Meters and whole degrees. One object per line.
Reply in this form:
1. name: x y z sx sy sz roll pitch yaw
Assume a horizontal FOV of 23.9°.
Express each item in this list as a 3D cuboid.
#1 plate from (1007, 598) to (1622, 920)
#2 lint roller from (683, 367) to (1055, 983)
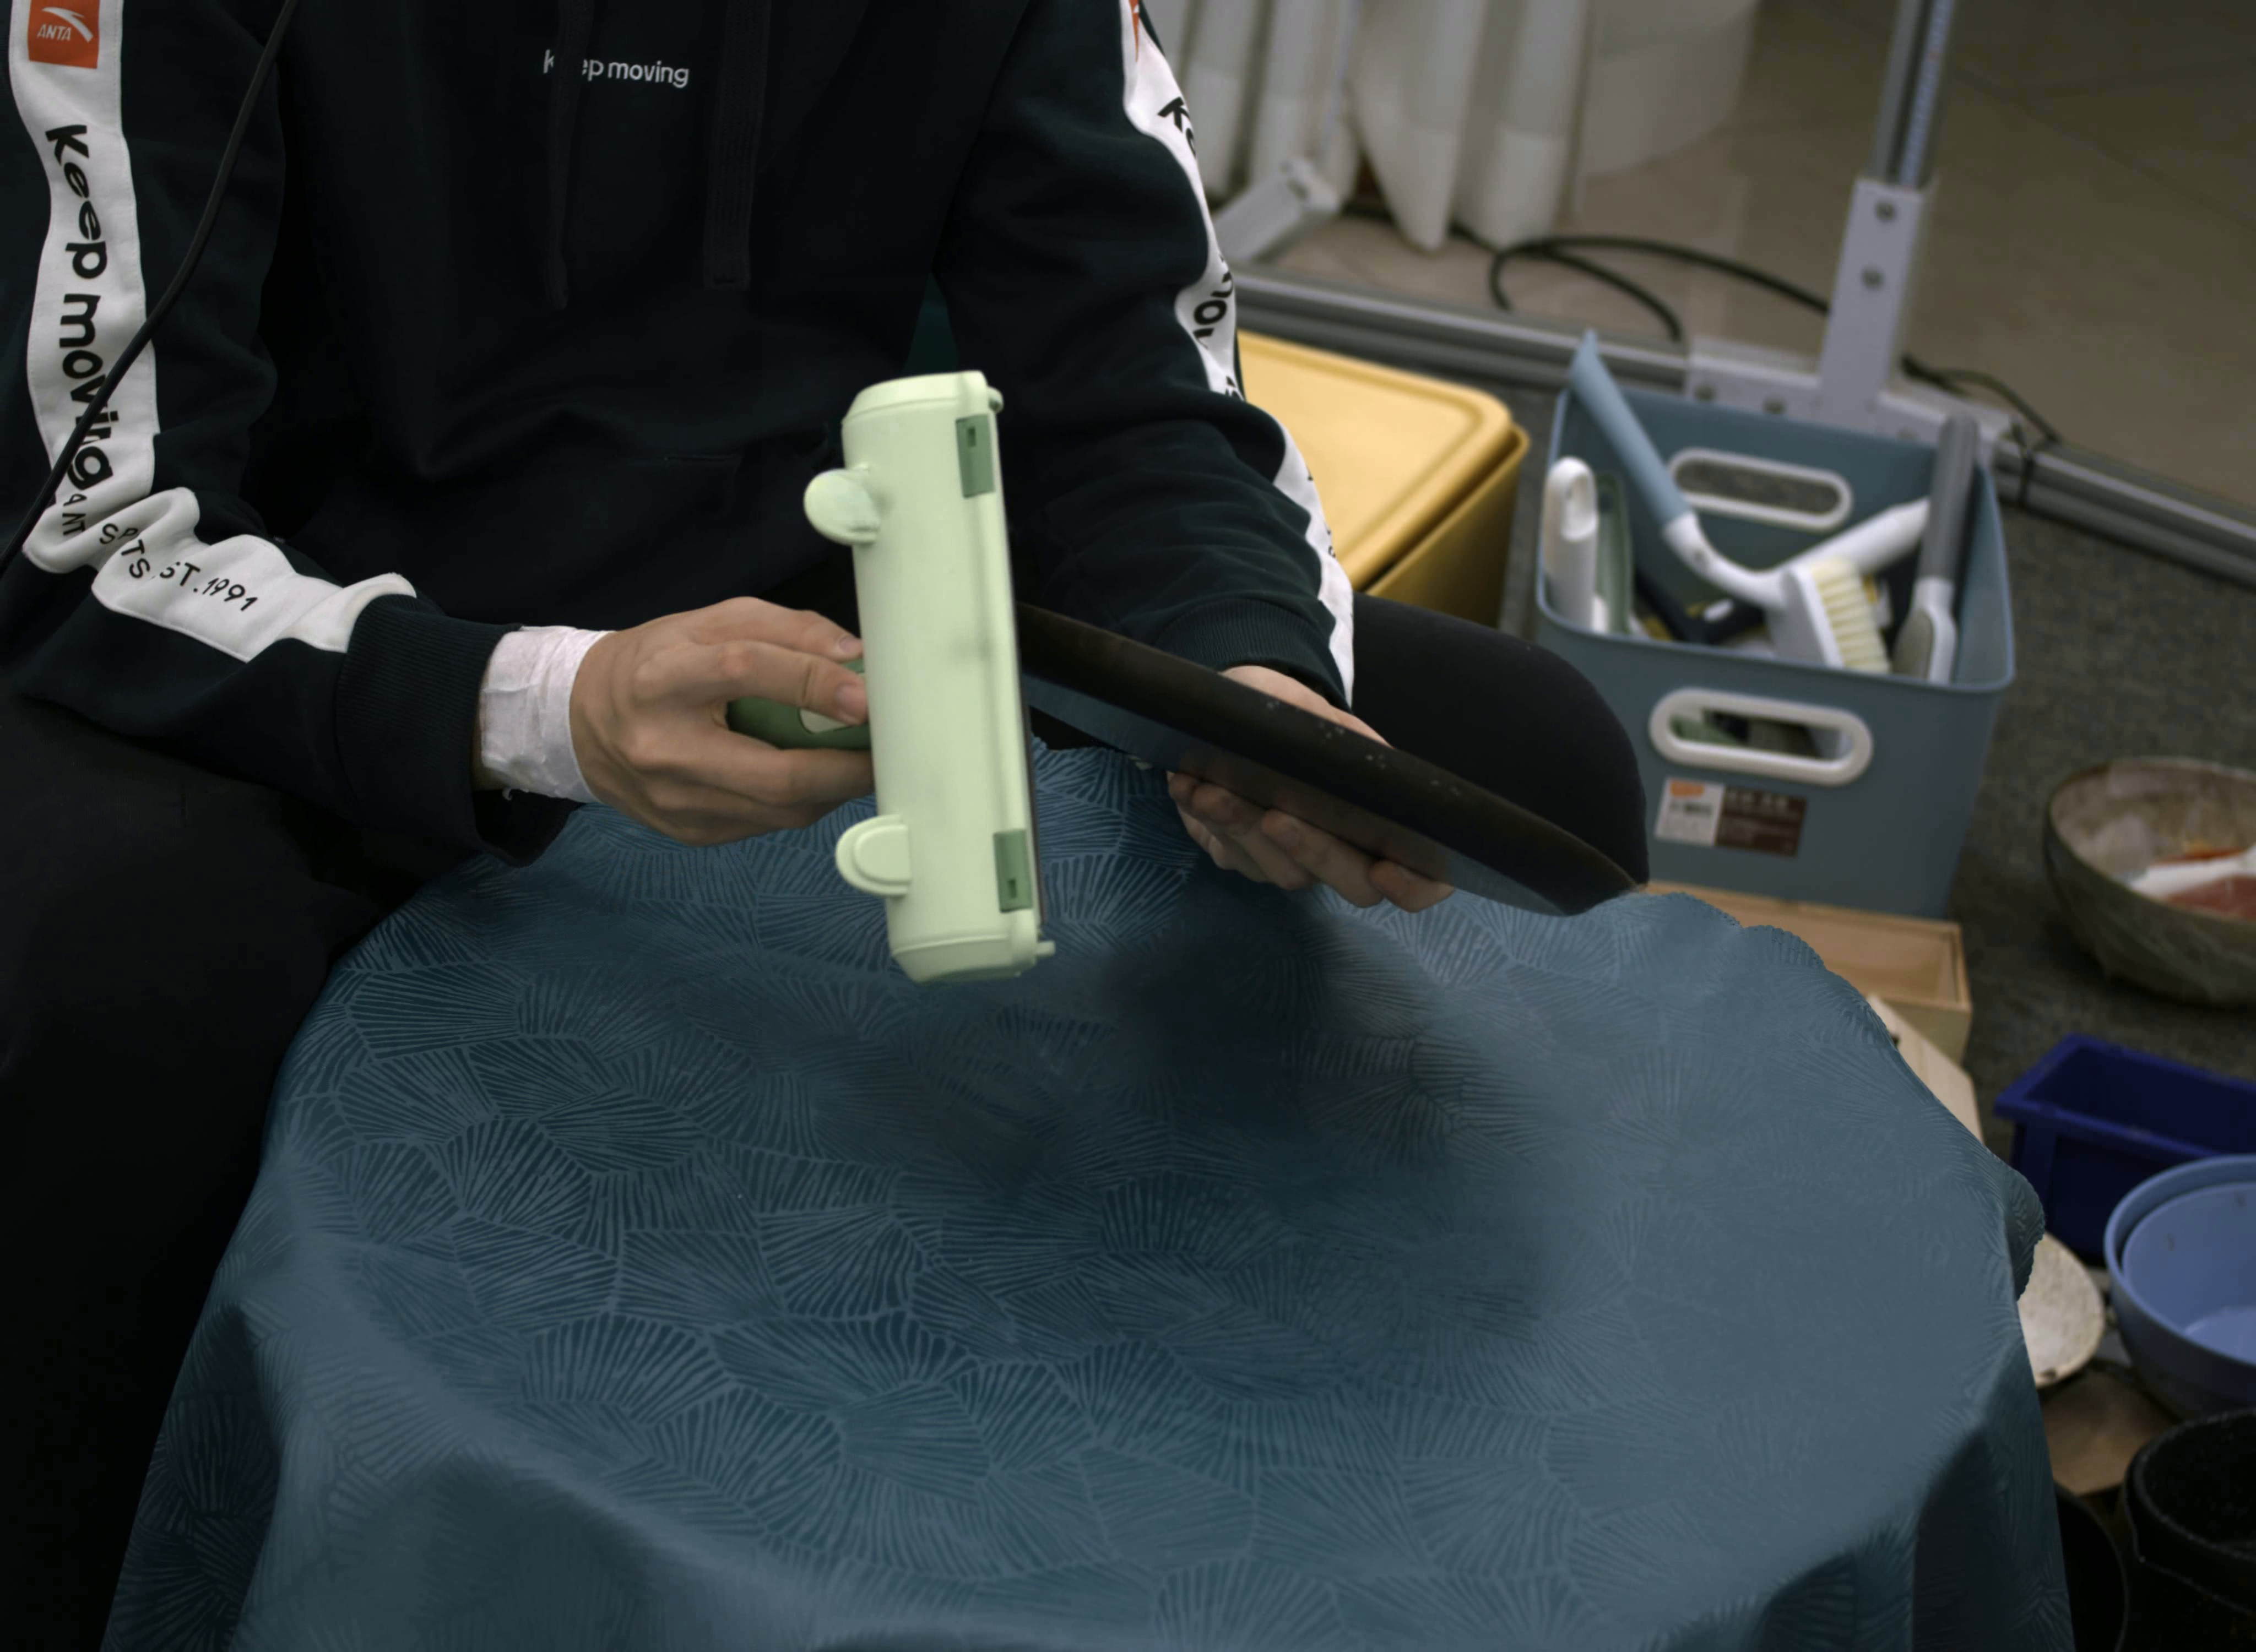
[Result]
1. plate: 0.049 -0.023 1.828 0.254 0.029 0.254 23 -2 1
2. lint roller: -0.105 -0.040 1.764 0.184 0.199 0.081 -12 -9 42
